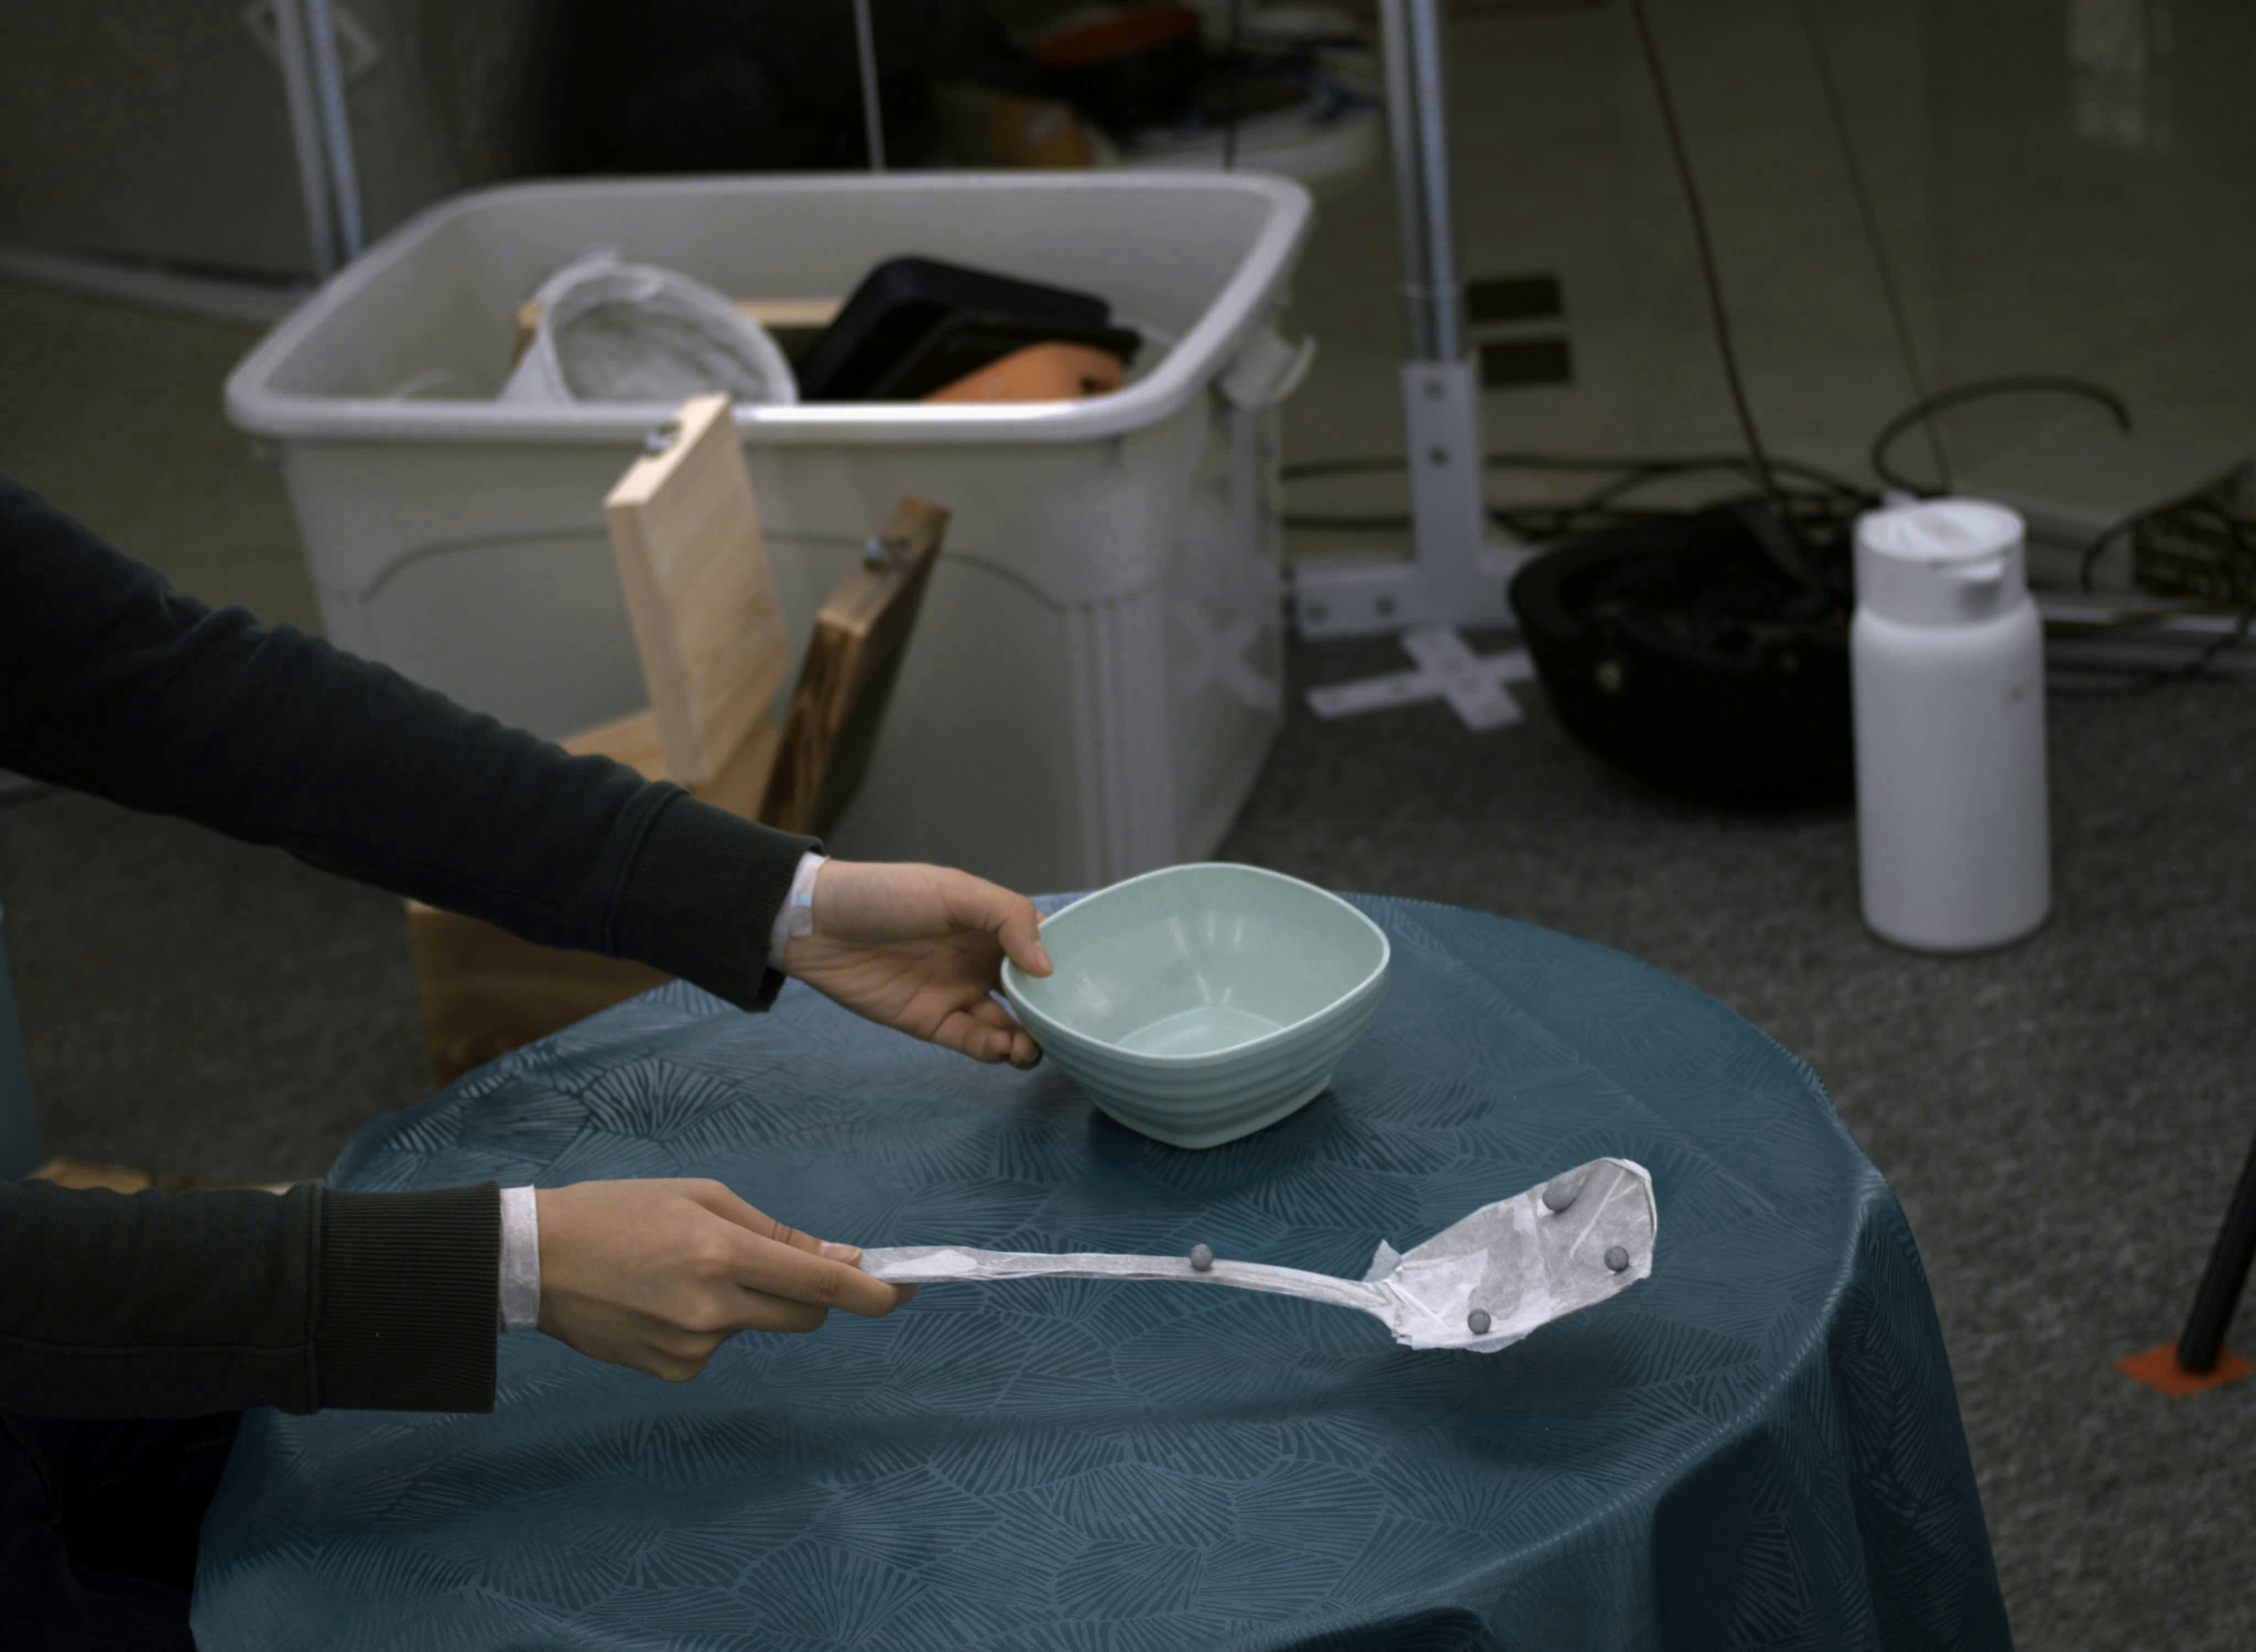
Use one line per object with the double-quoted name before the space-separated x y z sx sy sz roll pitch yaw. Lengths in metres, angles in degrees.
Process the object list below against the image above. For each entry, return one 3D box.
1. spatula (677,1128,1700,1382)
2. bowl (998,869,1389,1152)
"spatula" 0.020 0.155 1.984 0.364 0.045 0.098 -6 12 -2
"bowl" 0.026 0.077 2.200 0.151 0.059 0.149 -2 29 1
